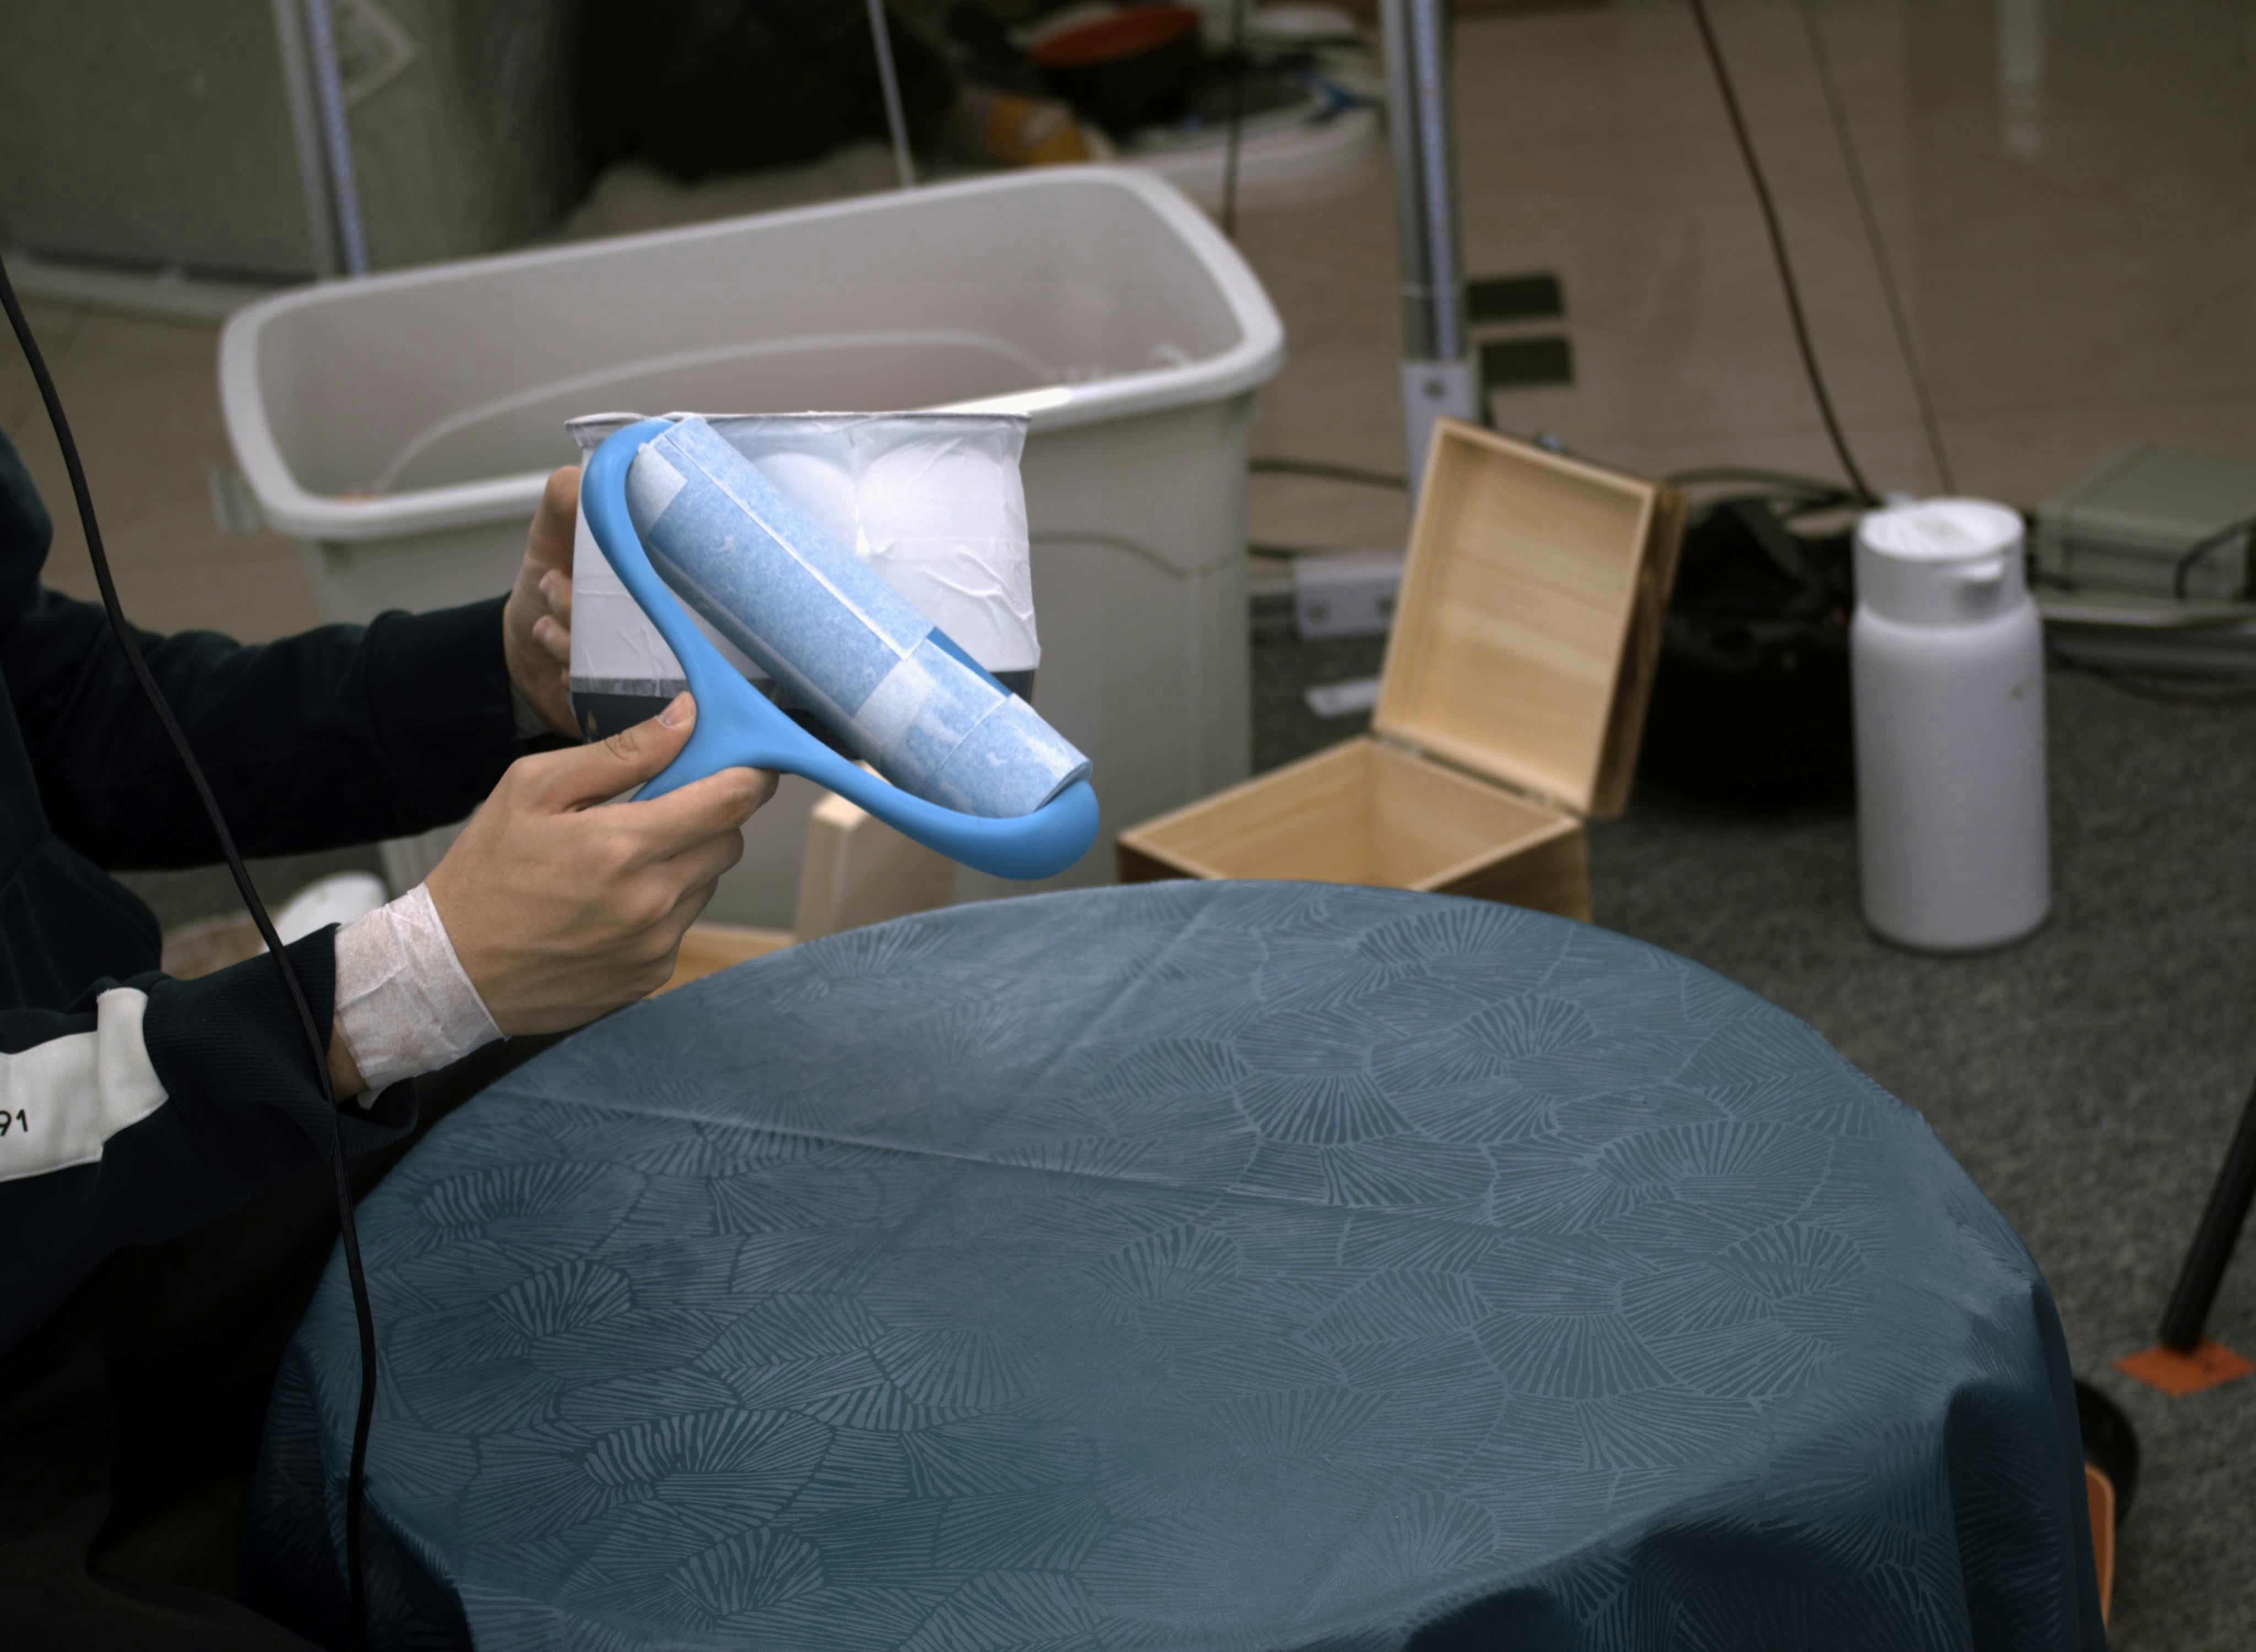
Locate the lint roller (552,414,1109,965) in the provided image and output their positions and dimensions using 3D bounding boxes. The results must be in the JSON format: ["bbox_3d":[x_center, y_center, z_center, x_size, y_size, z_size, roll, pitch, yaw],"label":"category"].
[{"bbox_3d":[-0.135,-0.025,1.995,0.228,0.068,0.179,38,71,5],"label":"lint roller"}]

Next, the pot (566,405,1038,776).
[{"bbox_3d":[-0.140,-0.093,2.153,0.178,0.137,0.233,-4,6,-40],"label":"pot"}]
